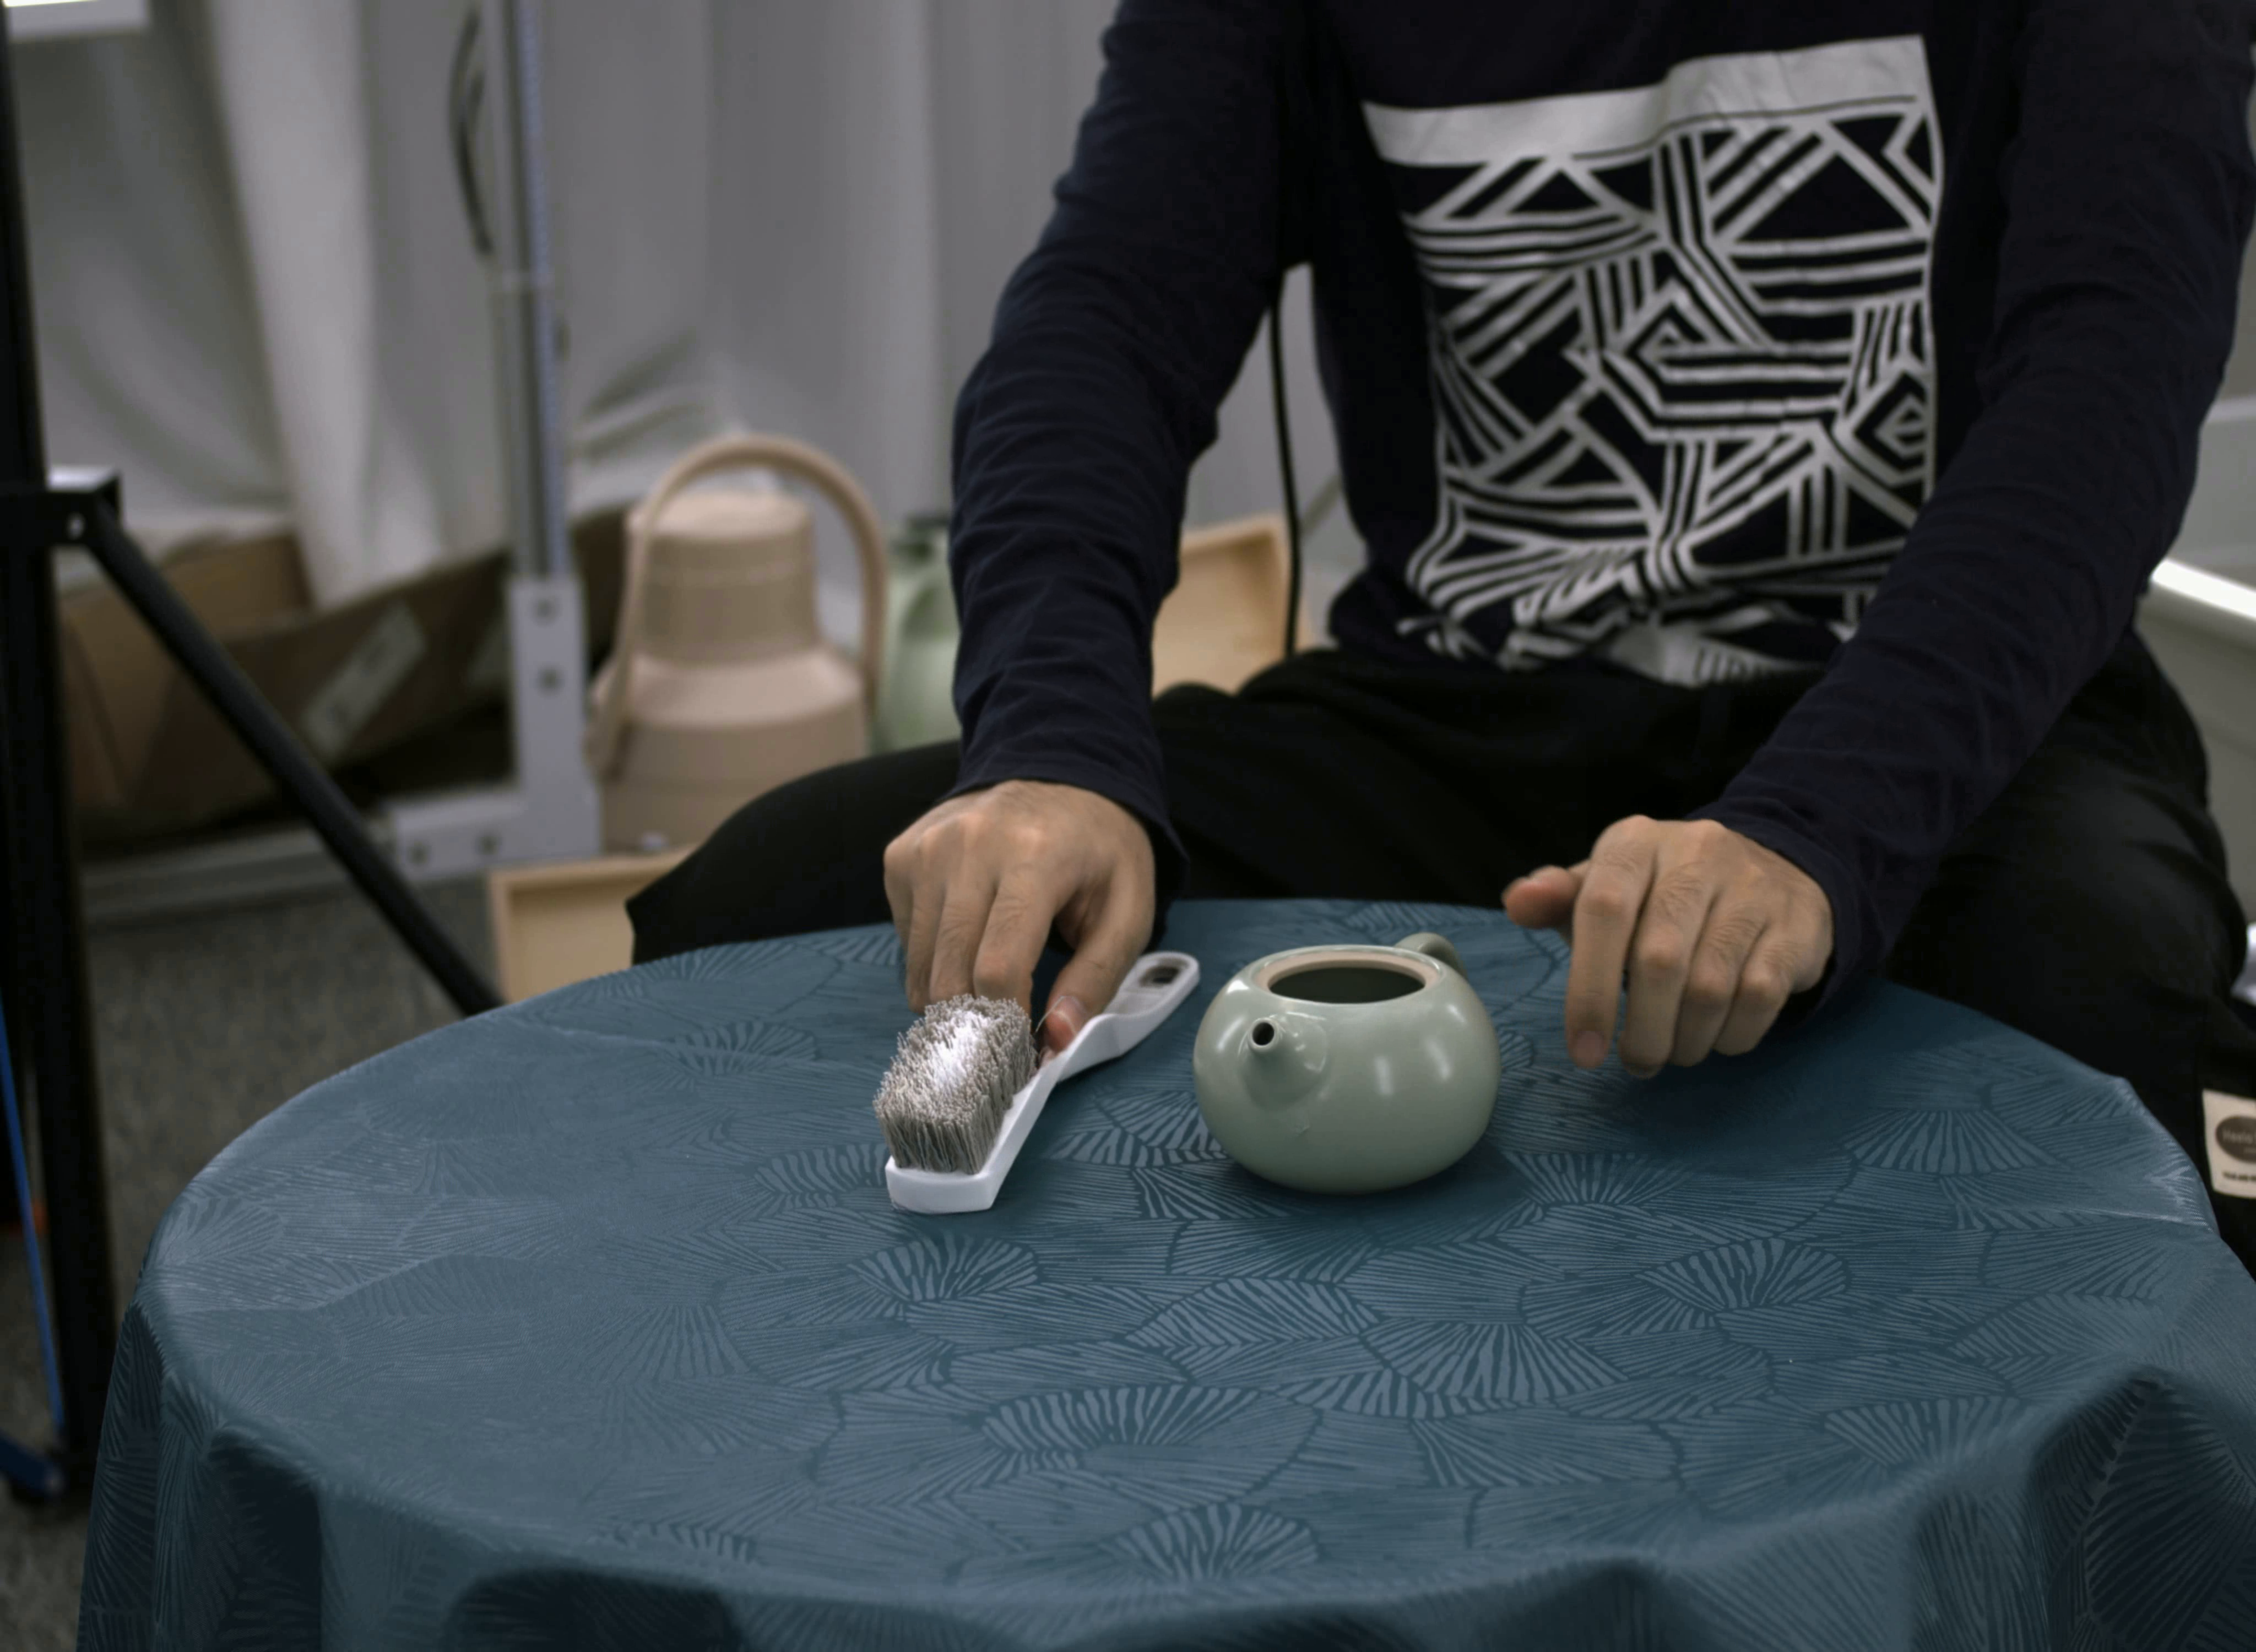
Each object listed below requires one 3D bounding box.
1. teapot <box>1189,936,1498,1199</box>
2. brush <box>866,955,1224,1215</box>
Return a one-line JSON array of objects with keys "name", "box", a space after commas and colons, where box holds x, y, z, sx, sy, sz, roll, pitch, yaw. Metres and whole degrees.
[{"name": "teapot", "box": [0.070, 0.071, 1.575, 0.093, 0.061, 0.126, 3, 15, 37]}, {"name": "brush", "box": [-0.021, 0.060, 1.644, 0.035, 0.050, 0.240, 0, 16, 22]}]
